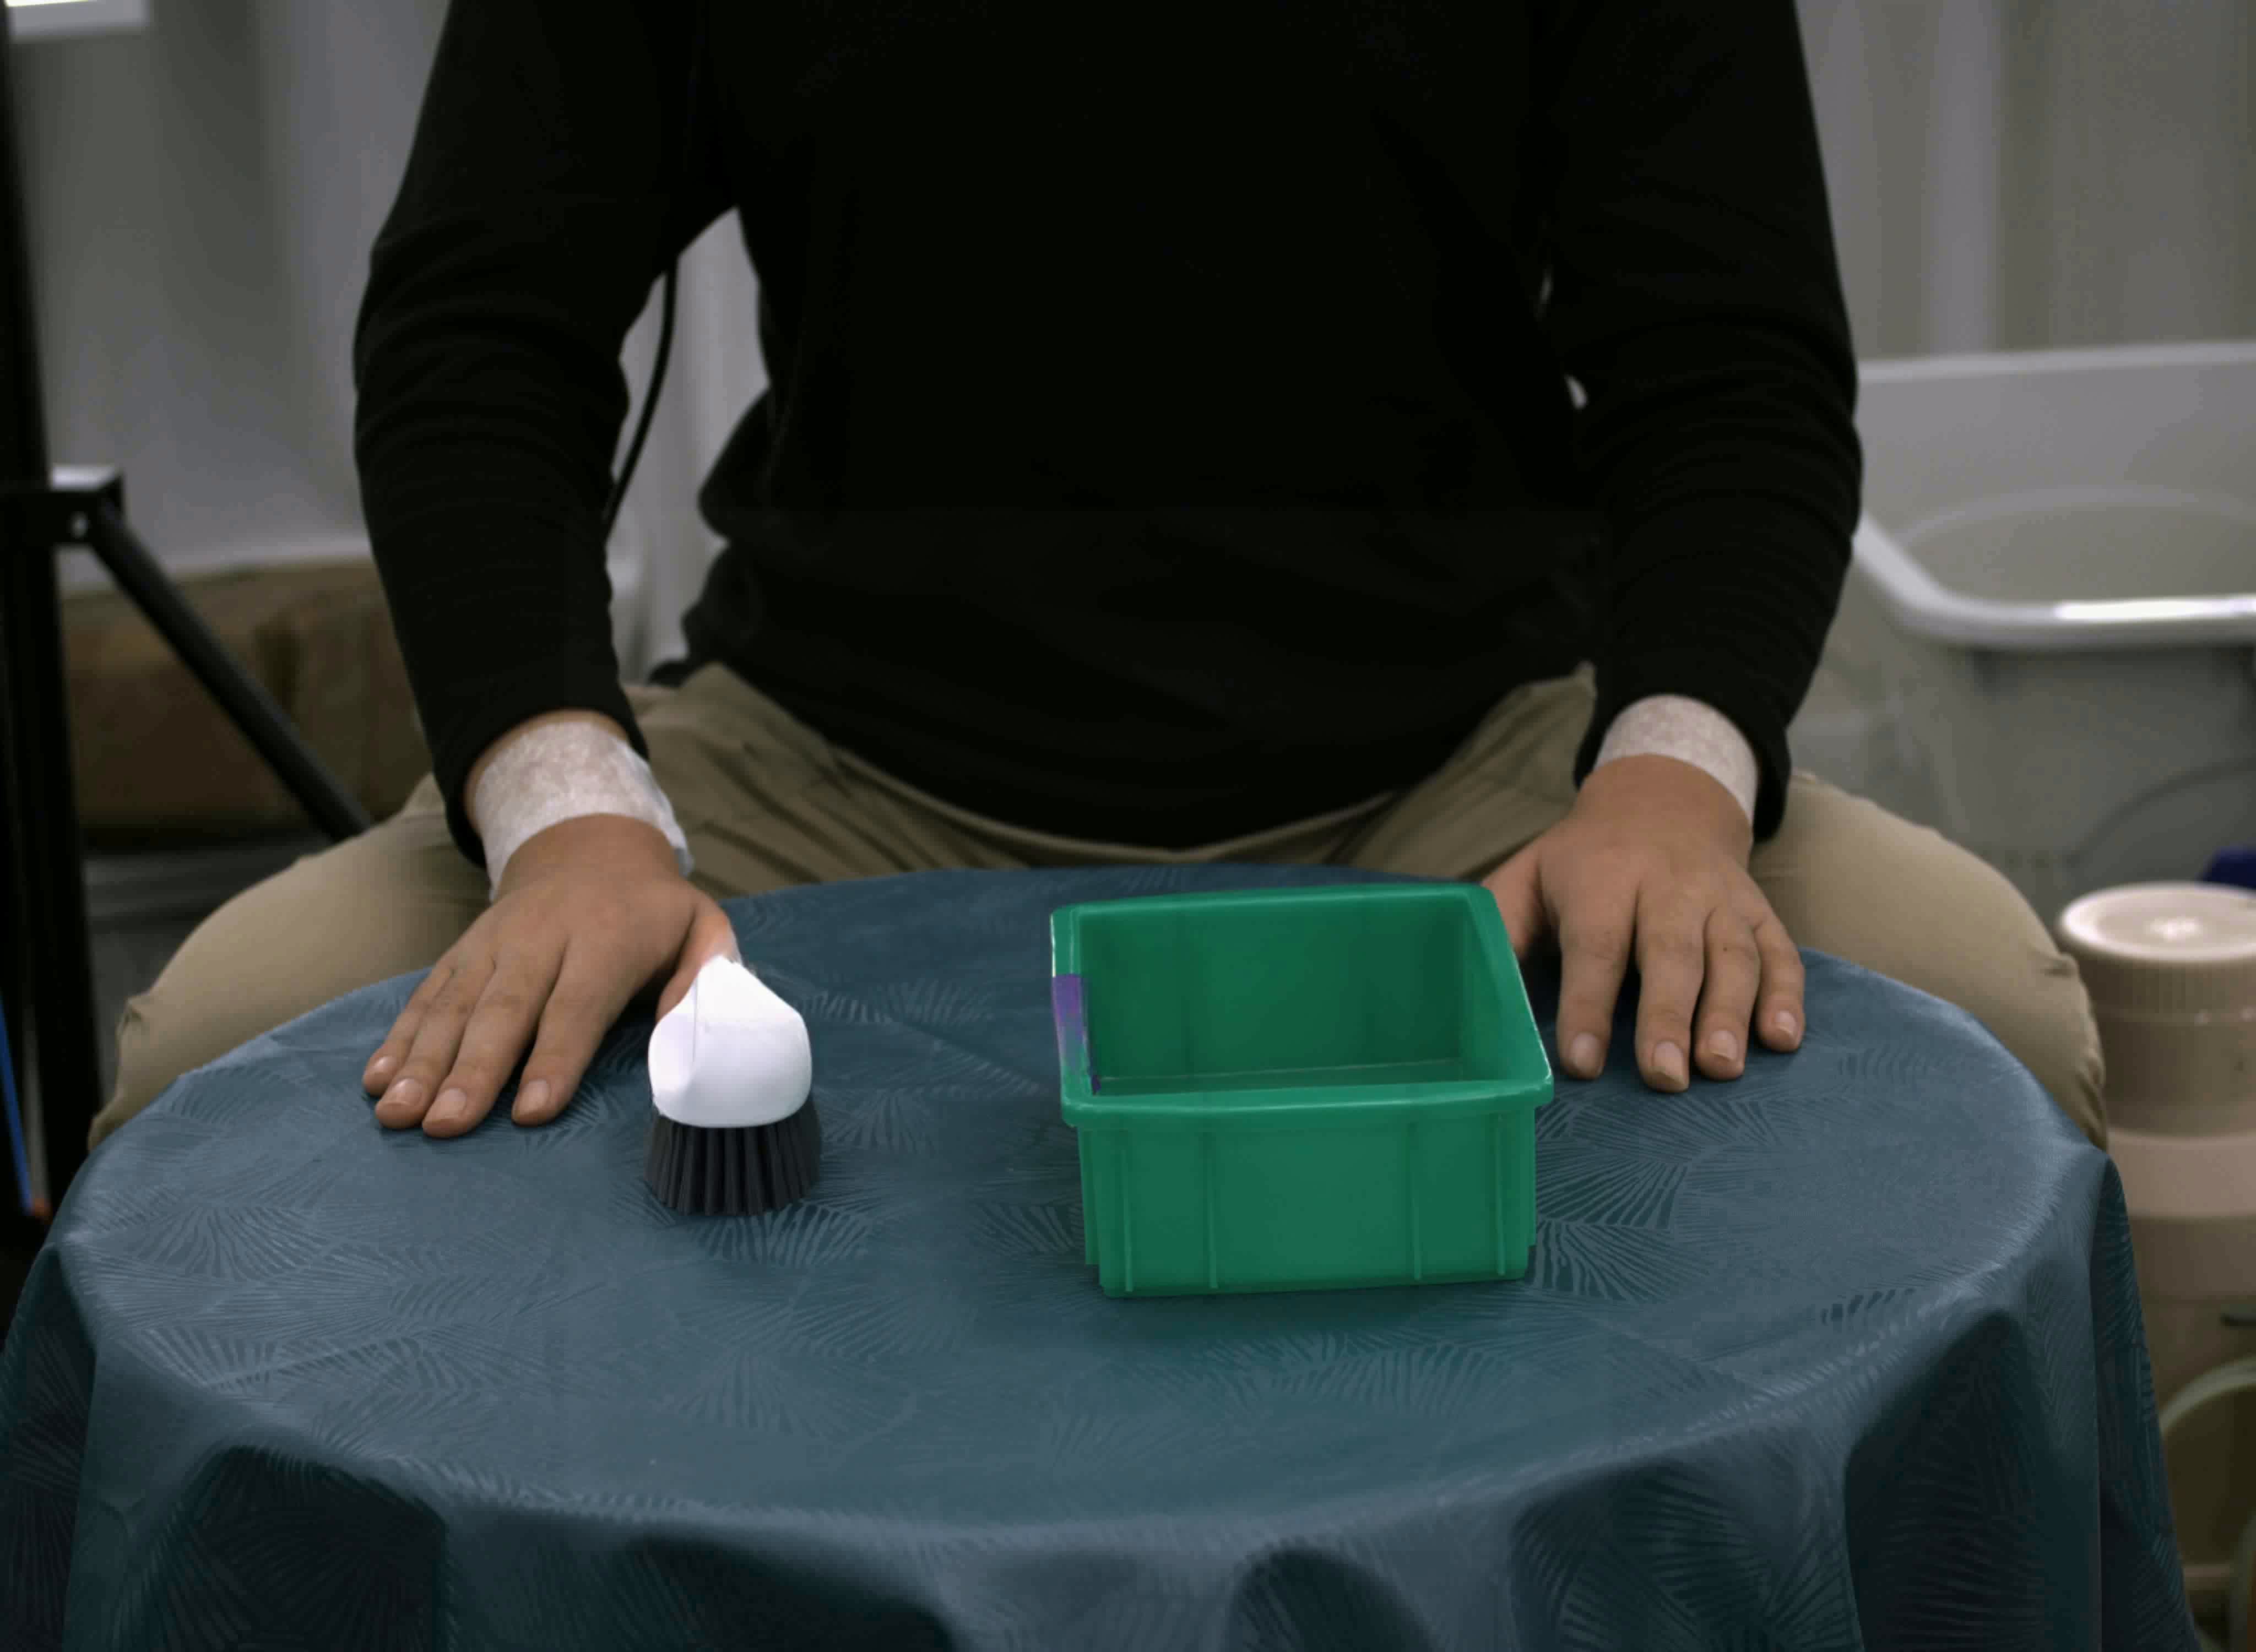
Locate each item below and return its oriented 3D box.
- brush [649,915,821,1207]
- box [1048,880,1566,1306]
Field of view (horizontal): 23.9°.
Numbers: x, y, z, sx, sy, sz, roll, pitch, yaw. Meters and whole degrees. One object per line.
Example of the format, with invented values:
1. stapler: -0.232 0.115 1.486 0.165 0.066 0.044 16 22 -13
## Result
1. brush: -0.119 0.065 1.593 0.050 0.072 0.099 -3 15 0
2. box: 0.049 0.077 1.545 0.138 0.065 0.212 -5 17 -1
